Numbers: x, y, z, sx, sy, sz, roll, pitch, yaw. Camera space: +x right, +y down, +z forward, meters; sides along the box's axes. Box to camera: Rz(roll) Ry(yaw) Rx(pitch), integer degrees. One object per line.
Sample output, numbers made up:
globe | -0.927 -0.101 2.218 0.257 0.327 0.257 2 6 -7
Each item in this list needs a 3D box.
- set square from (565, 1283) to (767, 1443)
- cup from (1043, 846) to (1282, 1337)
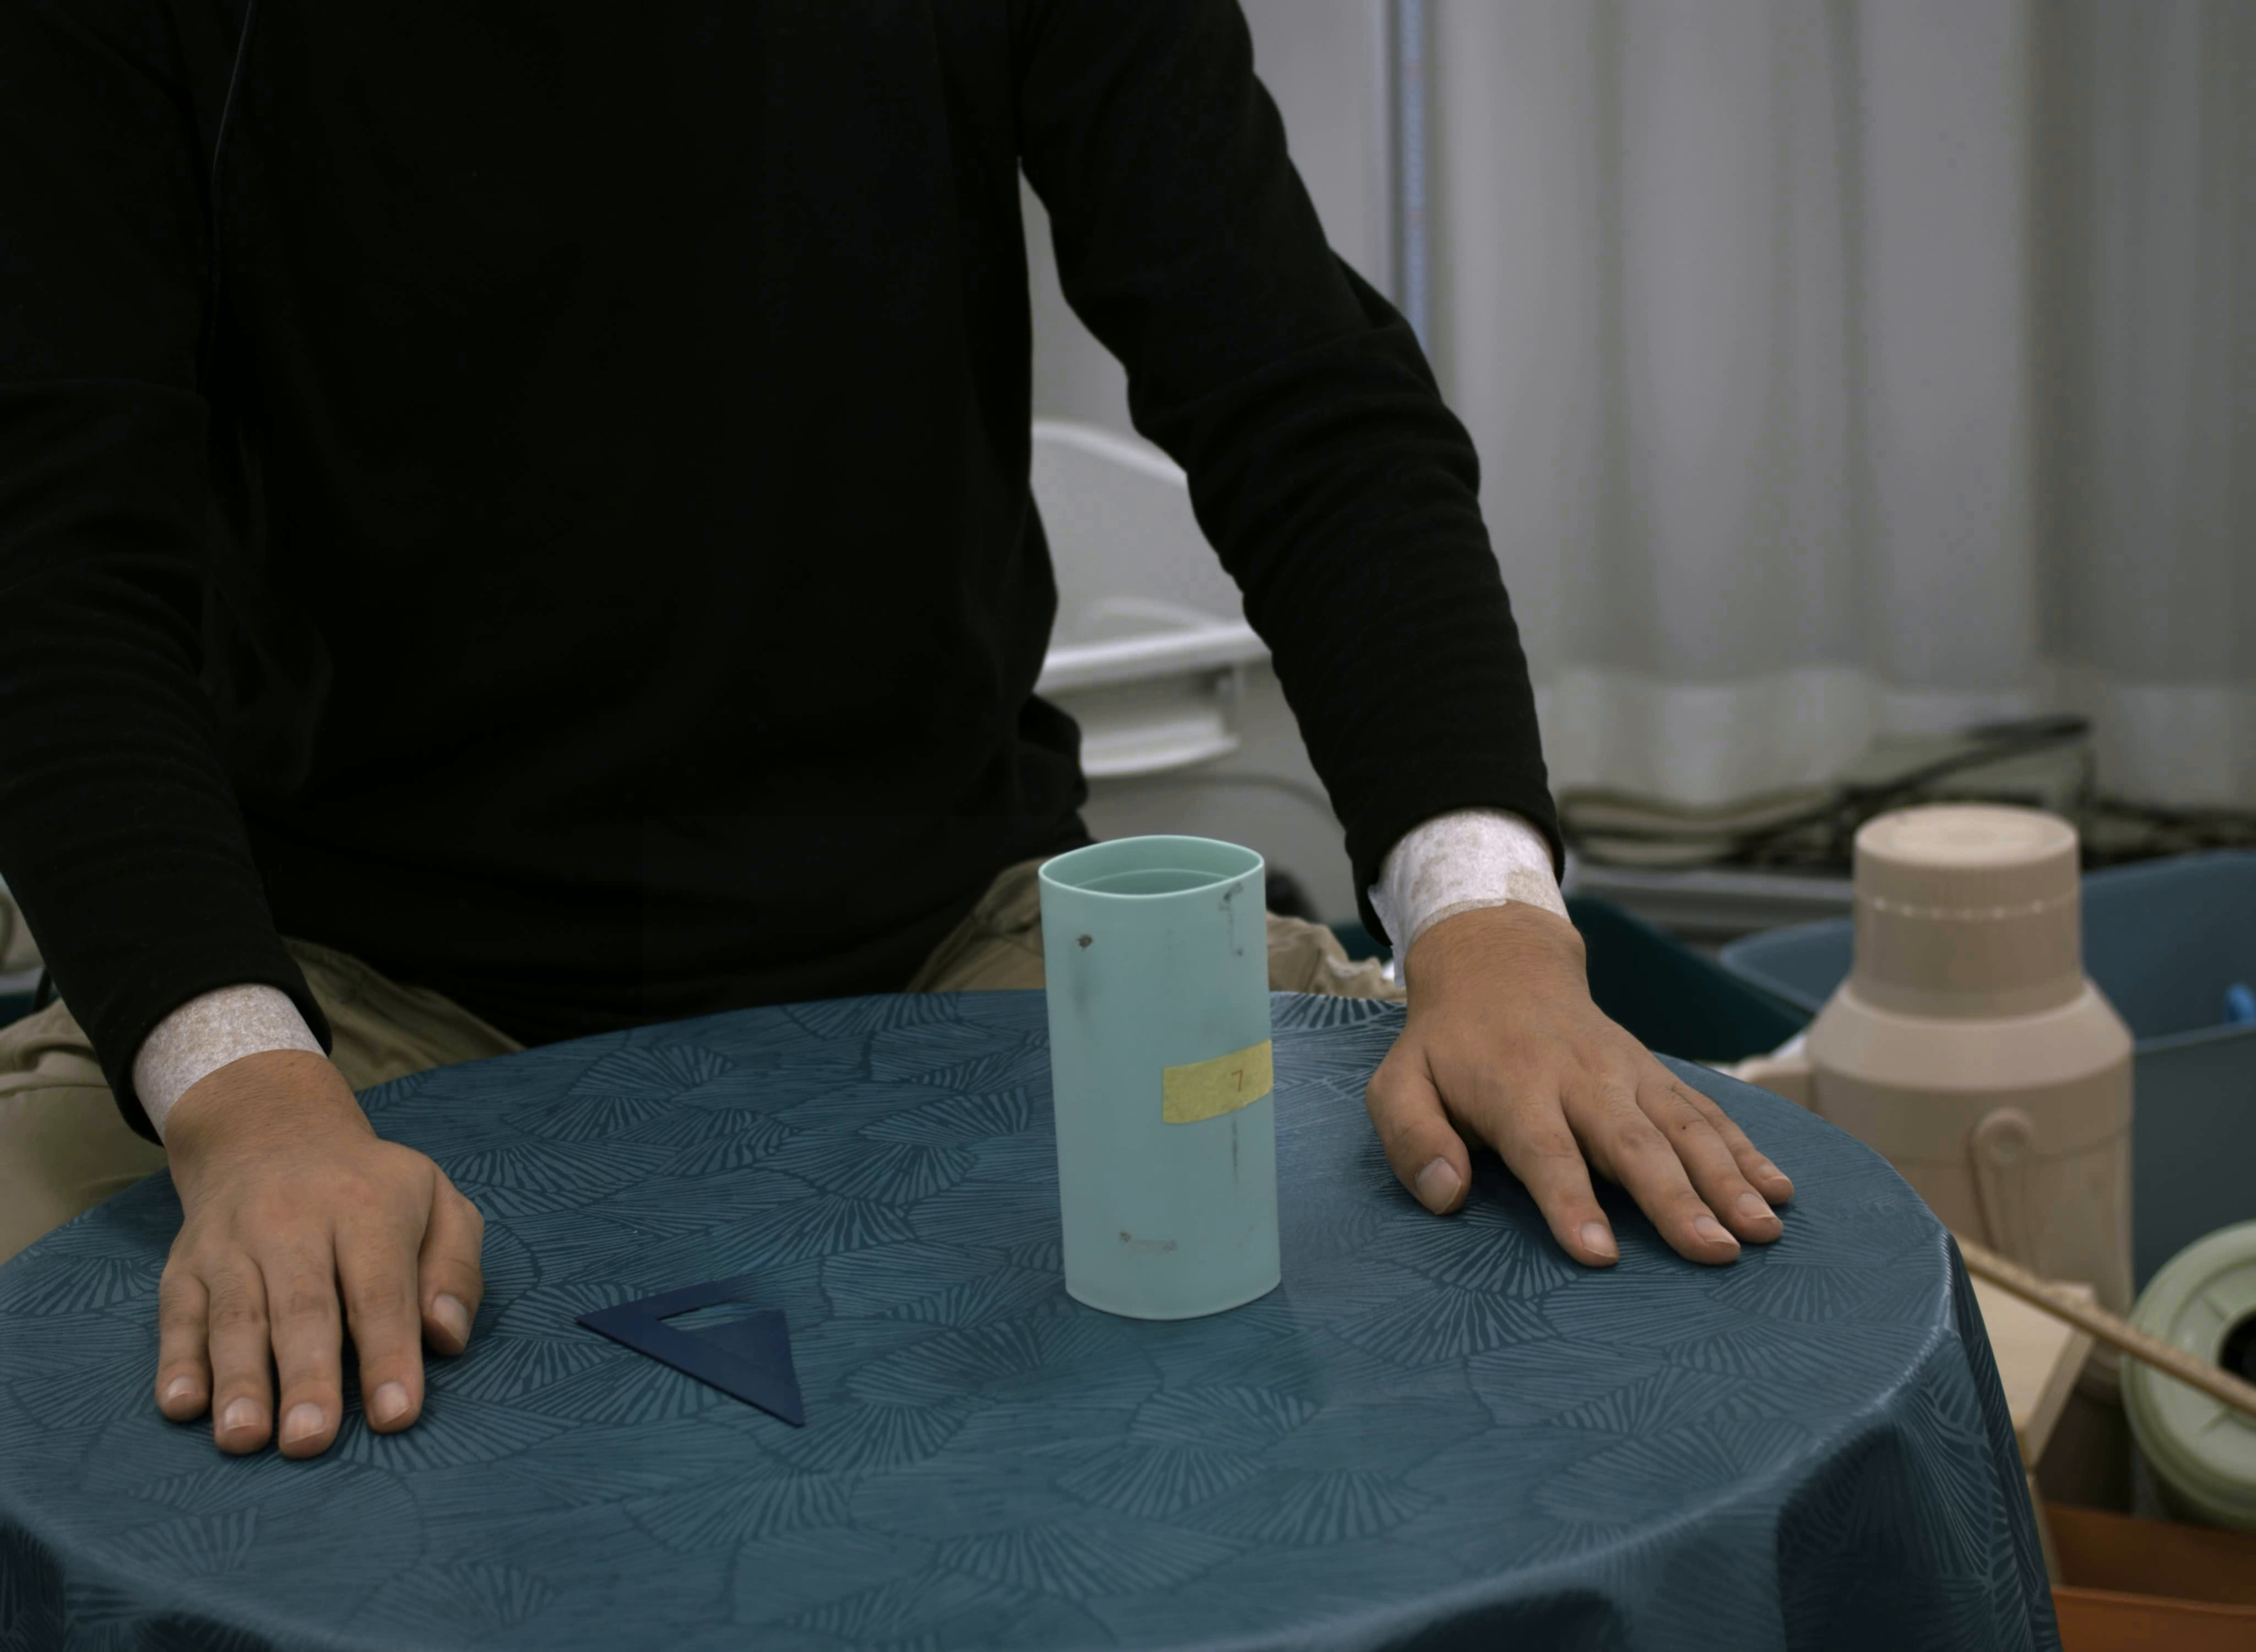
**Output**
set square | -0.134 0.154 1.581 0.061 0.006 0.133 -1 15 -3
cup | 0.010 0.077 1.615 0.066 0.132 0.067 -3 14 0
